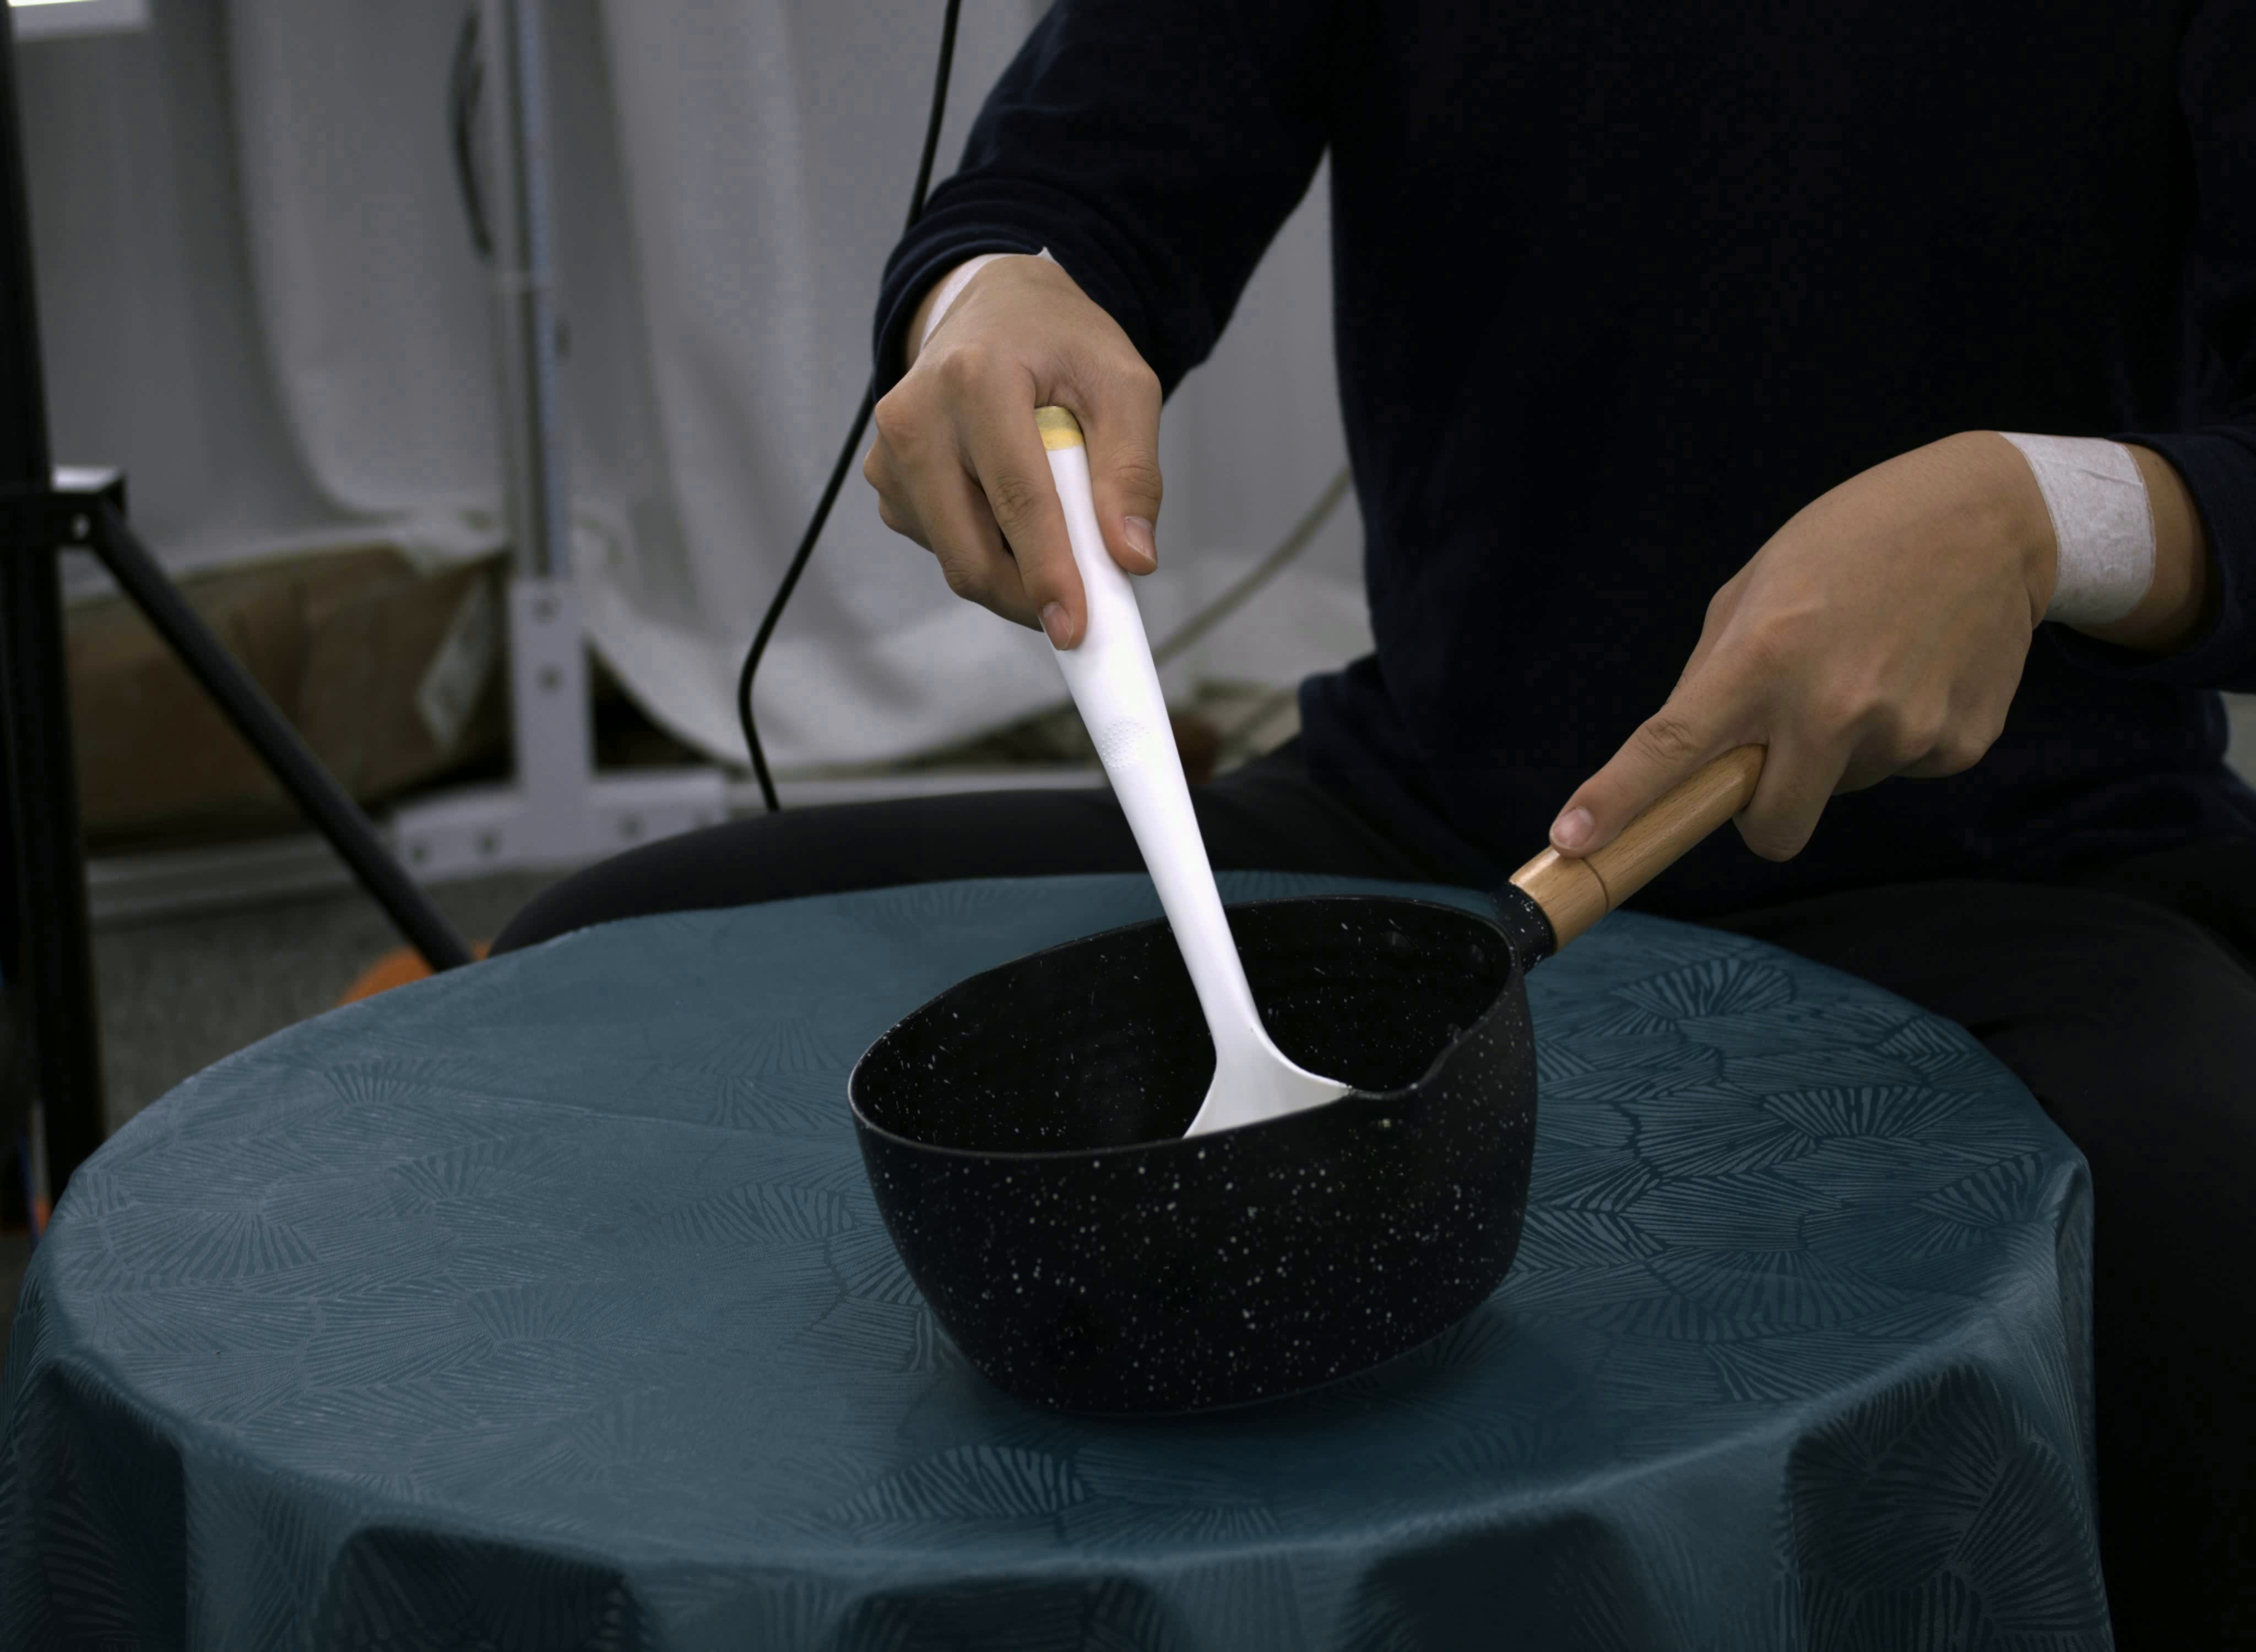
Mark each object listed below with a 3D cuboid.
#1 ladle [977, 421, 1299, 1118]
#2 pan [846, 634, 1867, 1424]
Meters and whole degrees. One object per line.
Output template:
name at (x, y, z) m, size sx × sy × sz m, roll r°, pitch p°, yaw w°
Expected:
ladle at (-0.004, 0.008, 1.487) m, size 0.091 × 0.297 × 0.068 m, roll -36°, pitch -35°, yaw 31°
pan at (0.082, 0.053, 1.462) m, size 0.336 × 0.108 × 0.212 m, roll -25°, pitch 19°, yaw -31°
